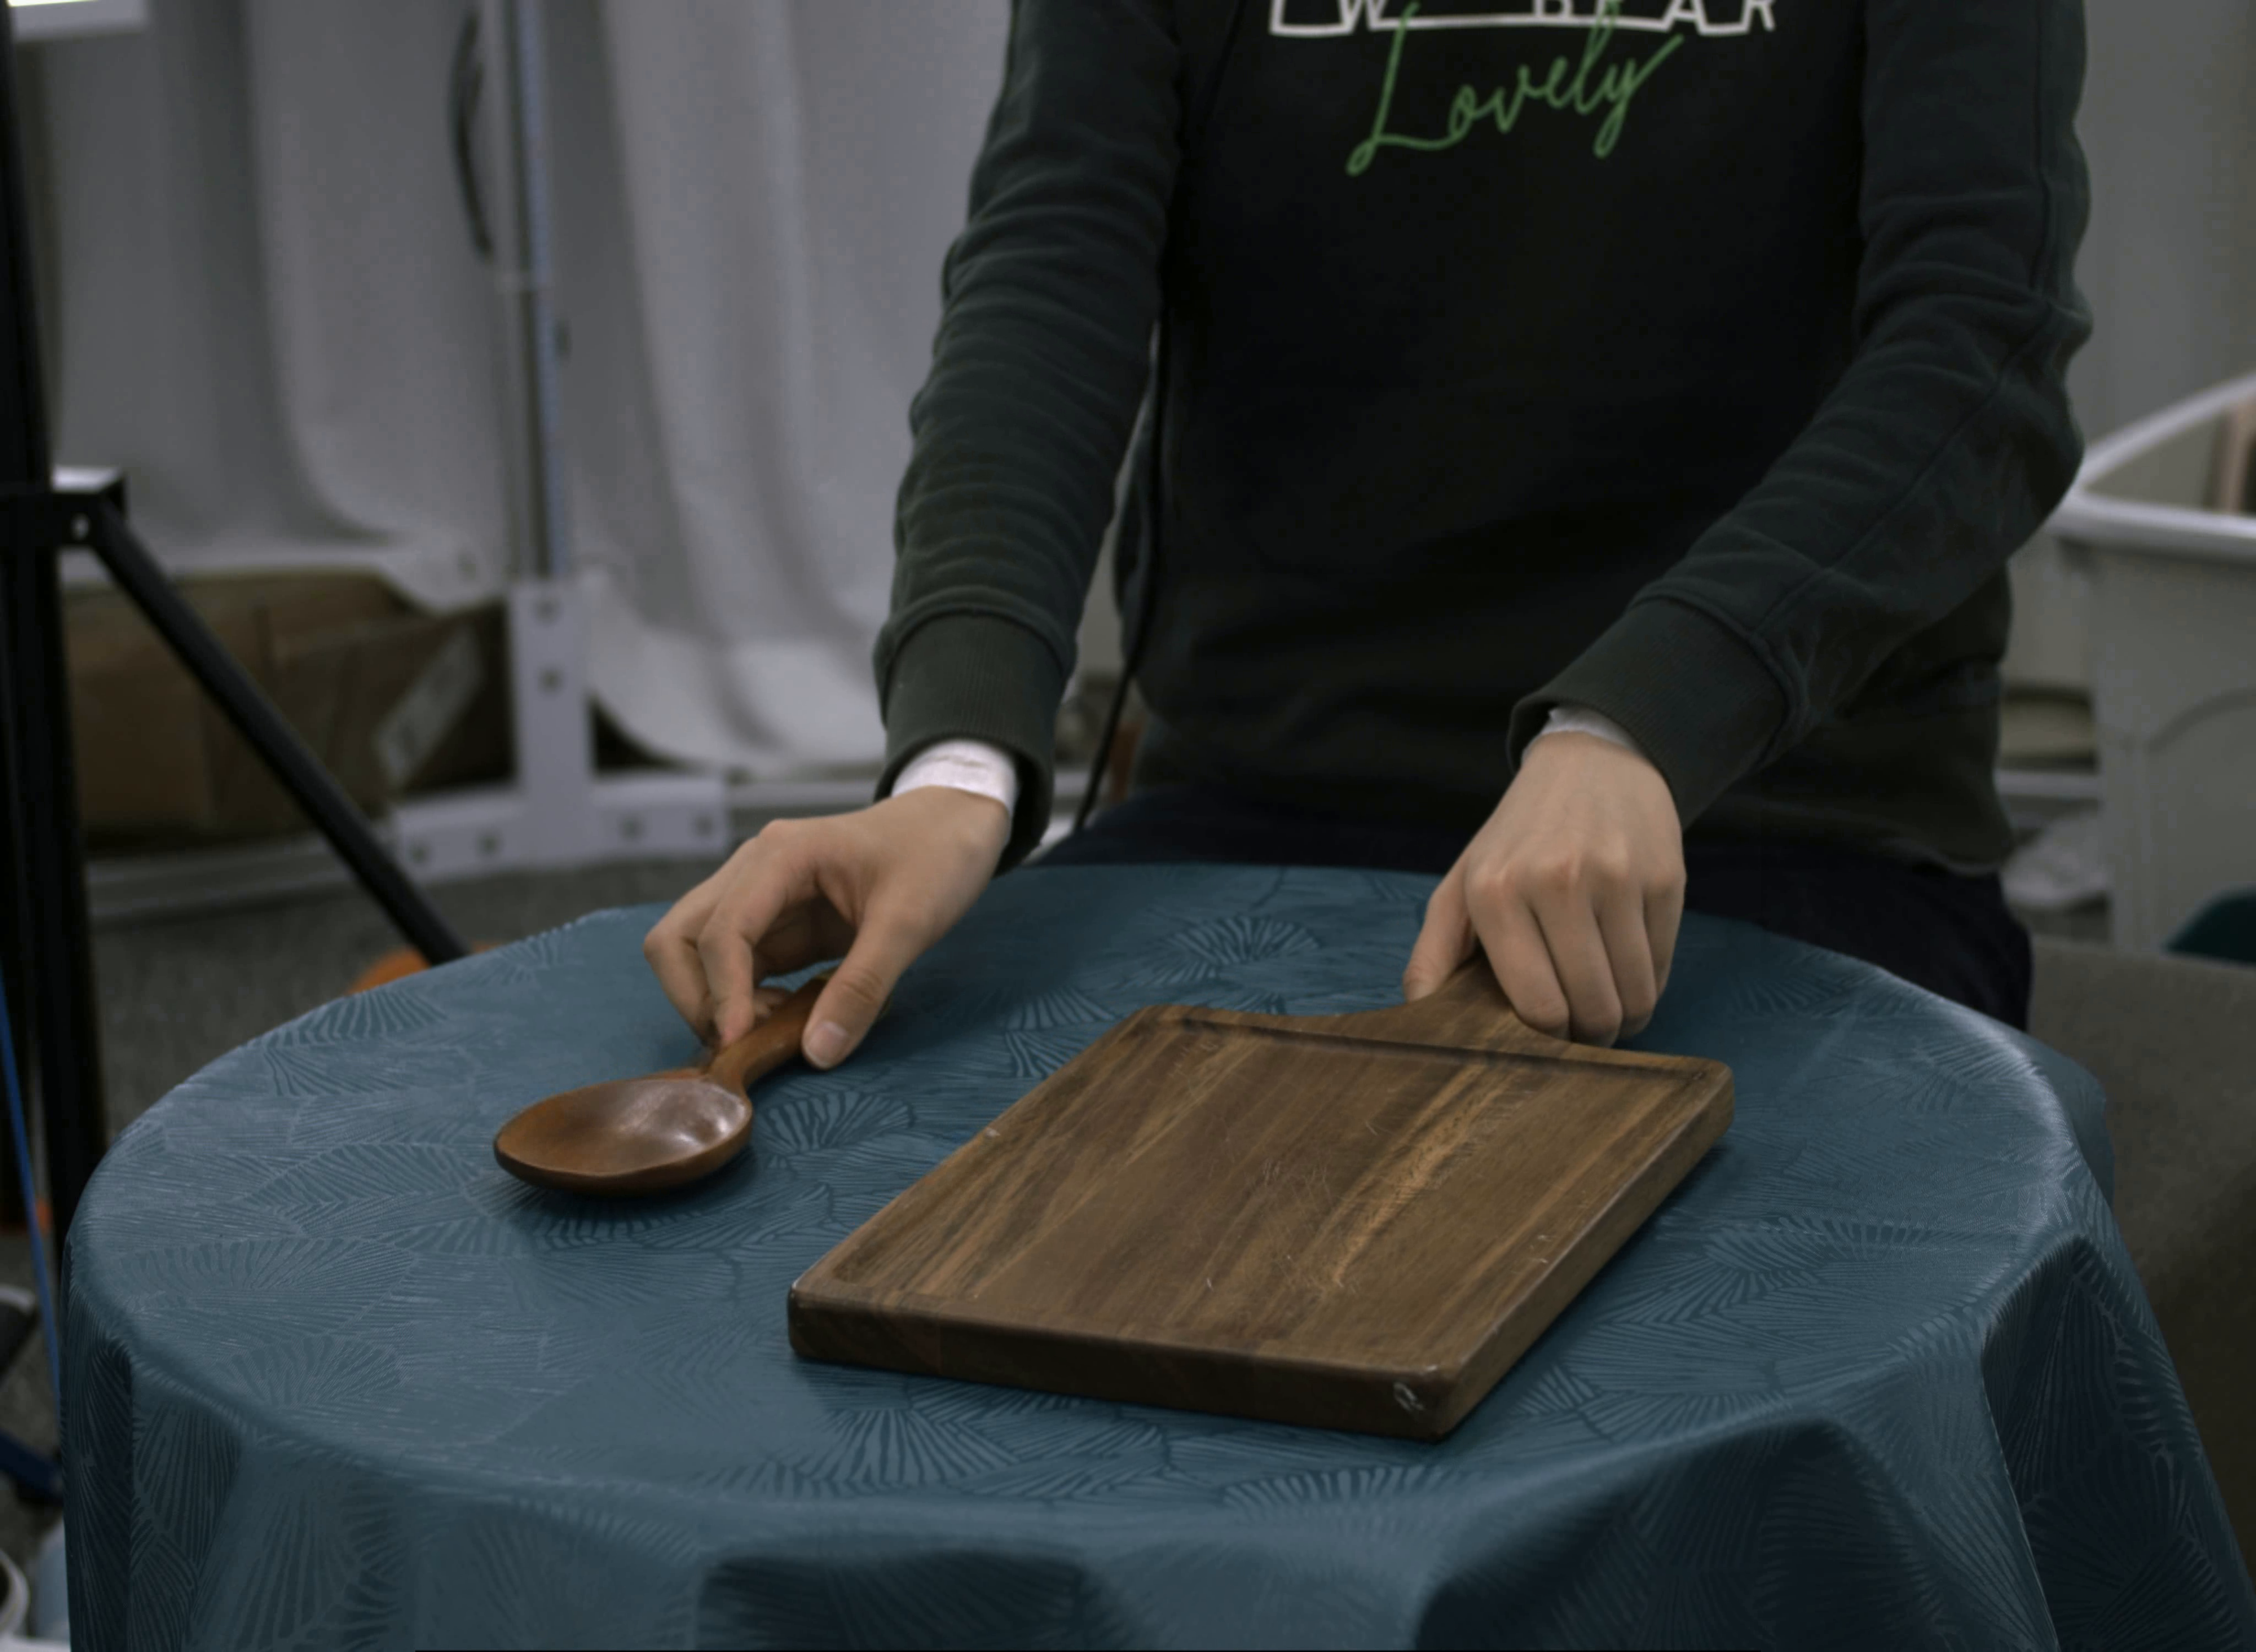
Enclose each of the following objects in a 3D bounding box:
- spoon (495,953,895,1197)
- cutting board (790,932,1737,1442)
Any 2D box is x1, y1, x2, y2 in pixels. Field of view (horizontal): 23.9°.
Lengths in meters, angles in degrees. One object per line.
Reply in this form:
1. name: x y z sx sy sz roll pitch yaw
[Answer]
1. spoon: -0.124 0.078 1.650 0.076 0.017 0.213 2 17 23
2. cutting board: 0.064 0.095 1.546 0.204 0.023 0.347 3 18 25
